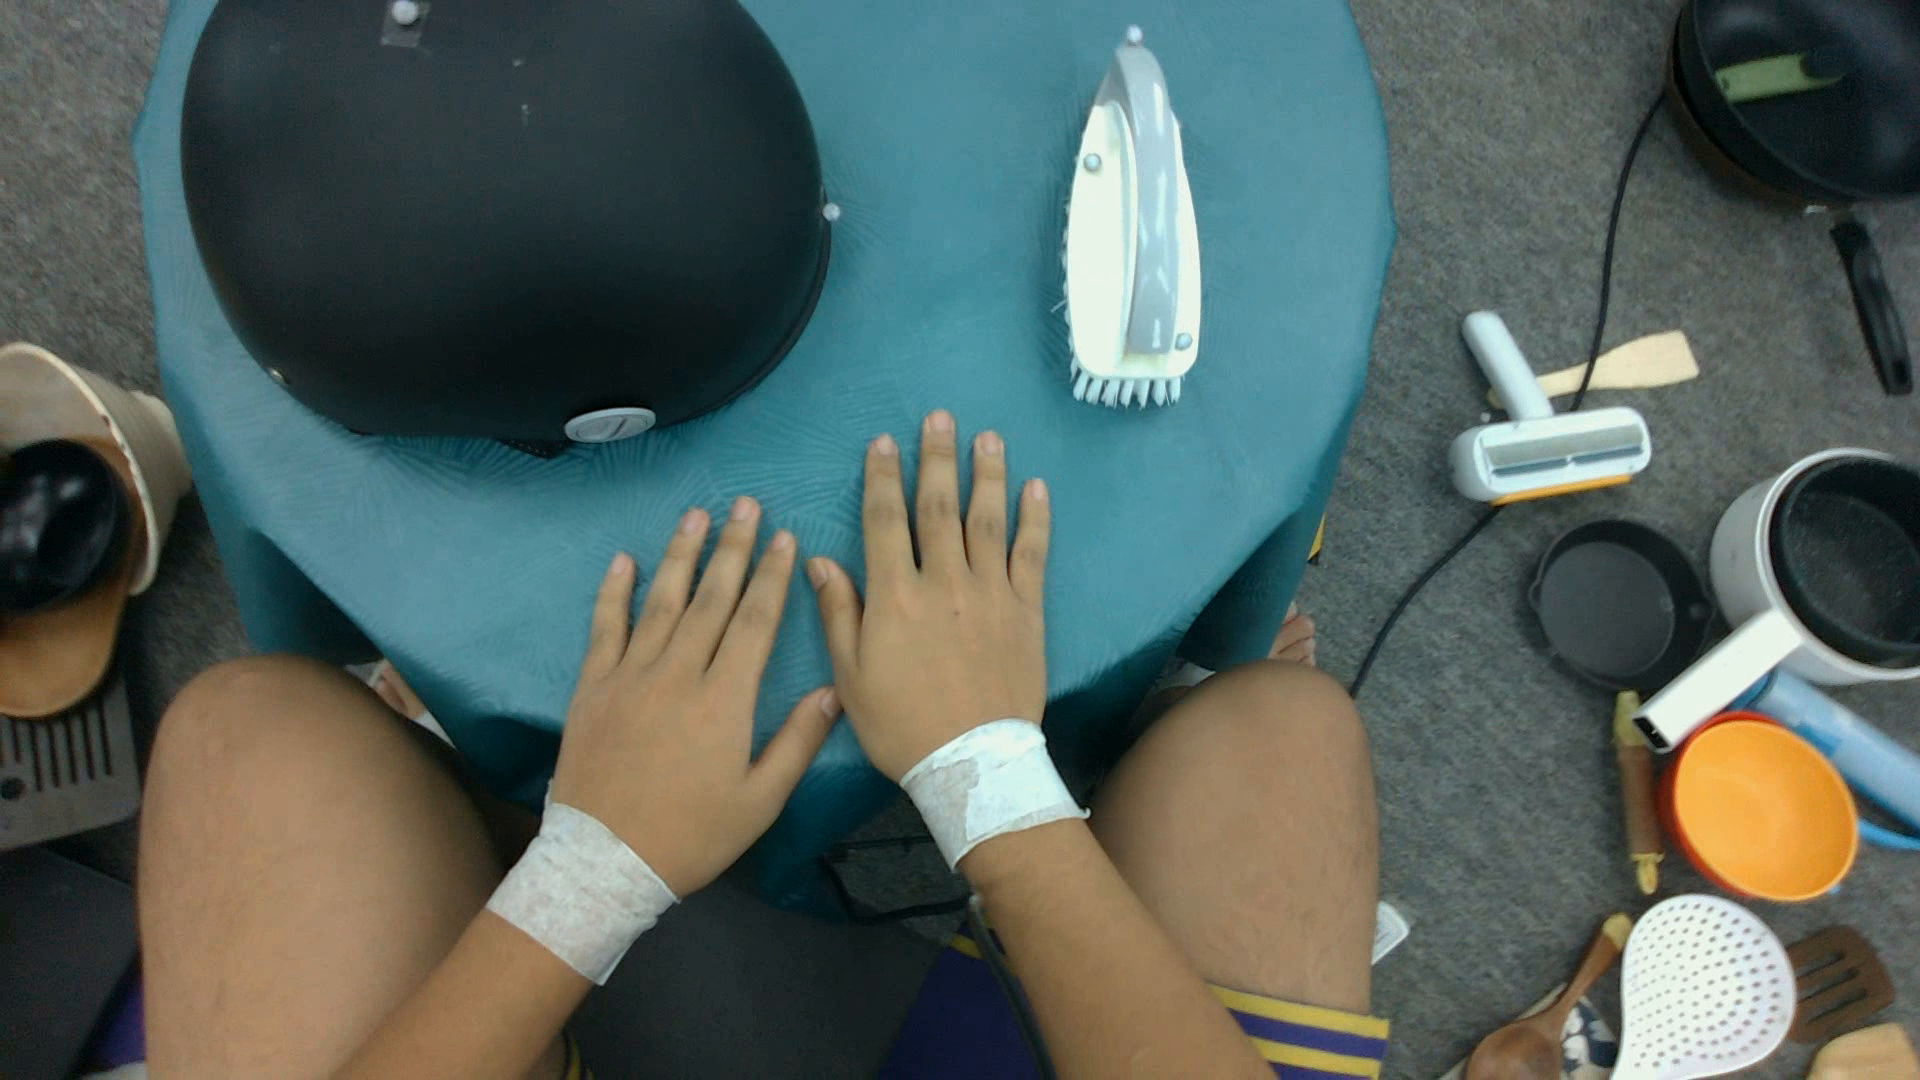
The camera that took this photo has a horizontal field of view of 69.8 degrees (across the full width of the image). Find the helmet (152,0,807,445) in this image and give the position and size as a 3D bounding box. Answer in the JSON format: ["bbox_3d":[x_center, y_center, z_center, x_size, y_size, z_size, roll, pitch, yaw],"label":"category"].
[{"bbox_3d":[-0.199,-0.162,0.571,0.273,0.166,0.230,-1,77,-8],"label":"helmet"}]

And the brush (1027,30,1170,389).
[{"bbox_3d":[0.066,-0.166,0.634,0.061,0.094,0.176,0,74,-8],"label":"brush"}]
